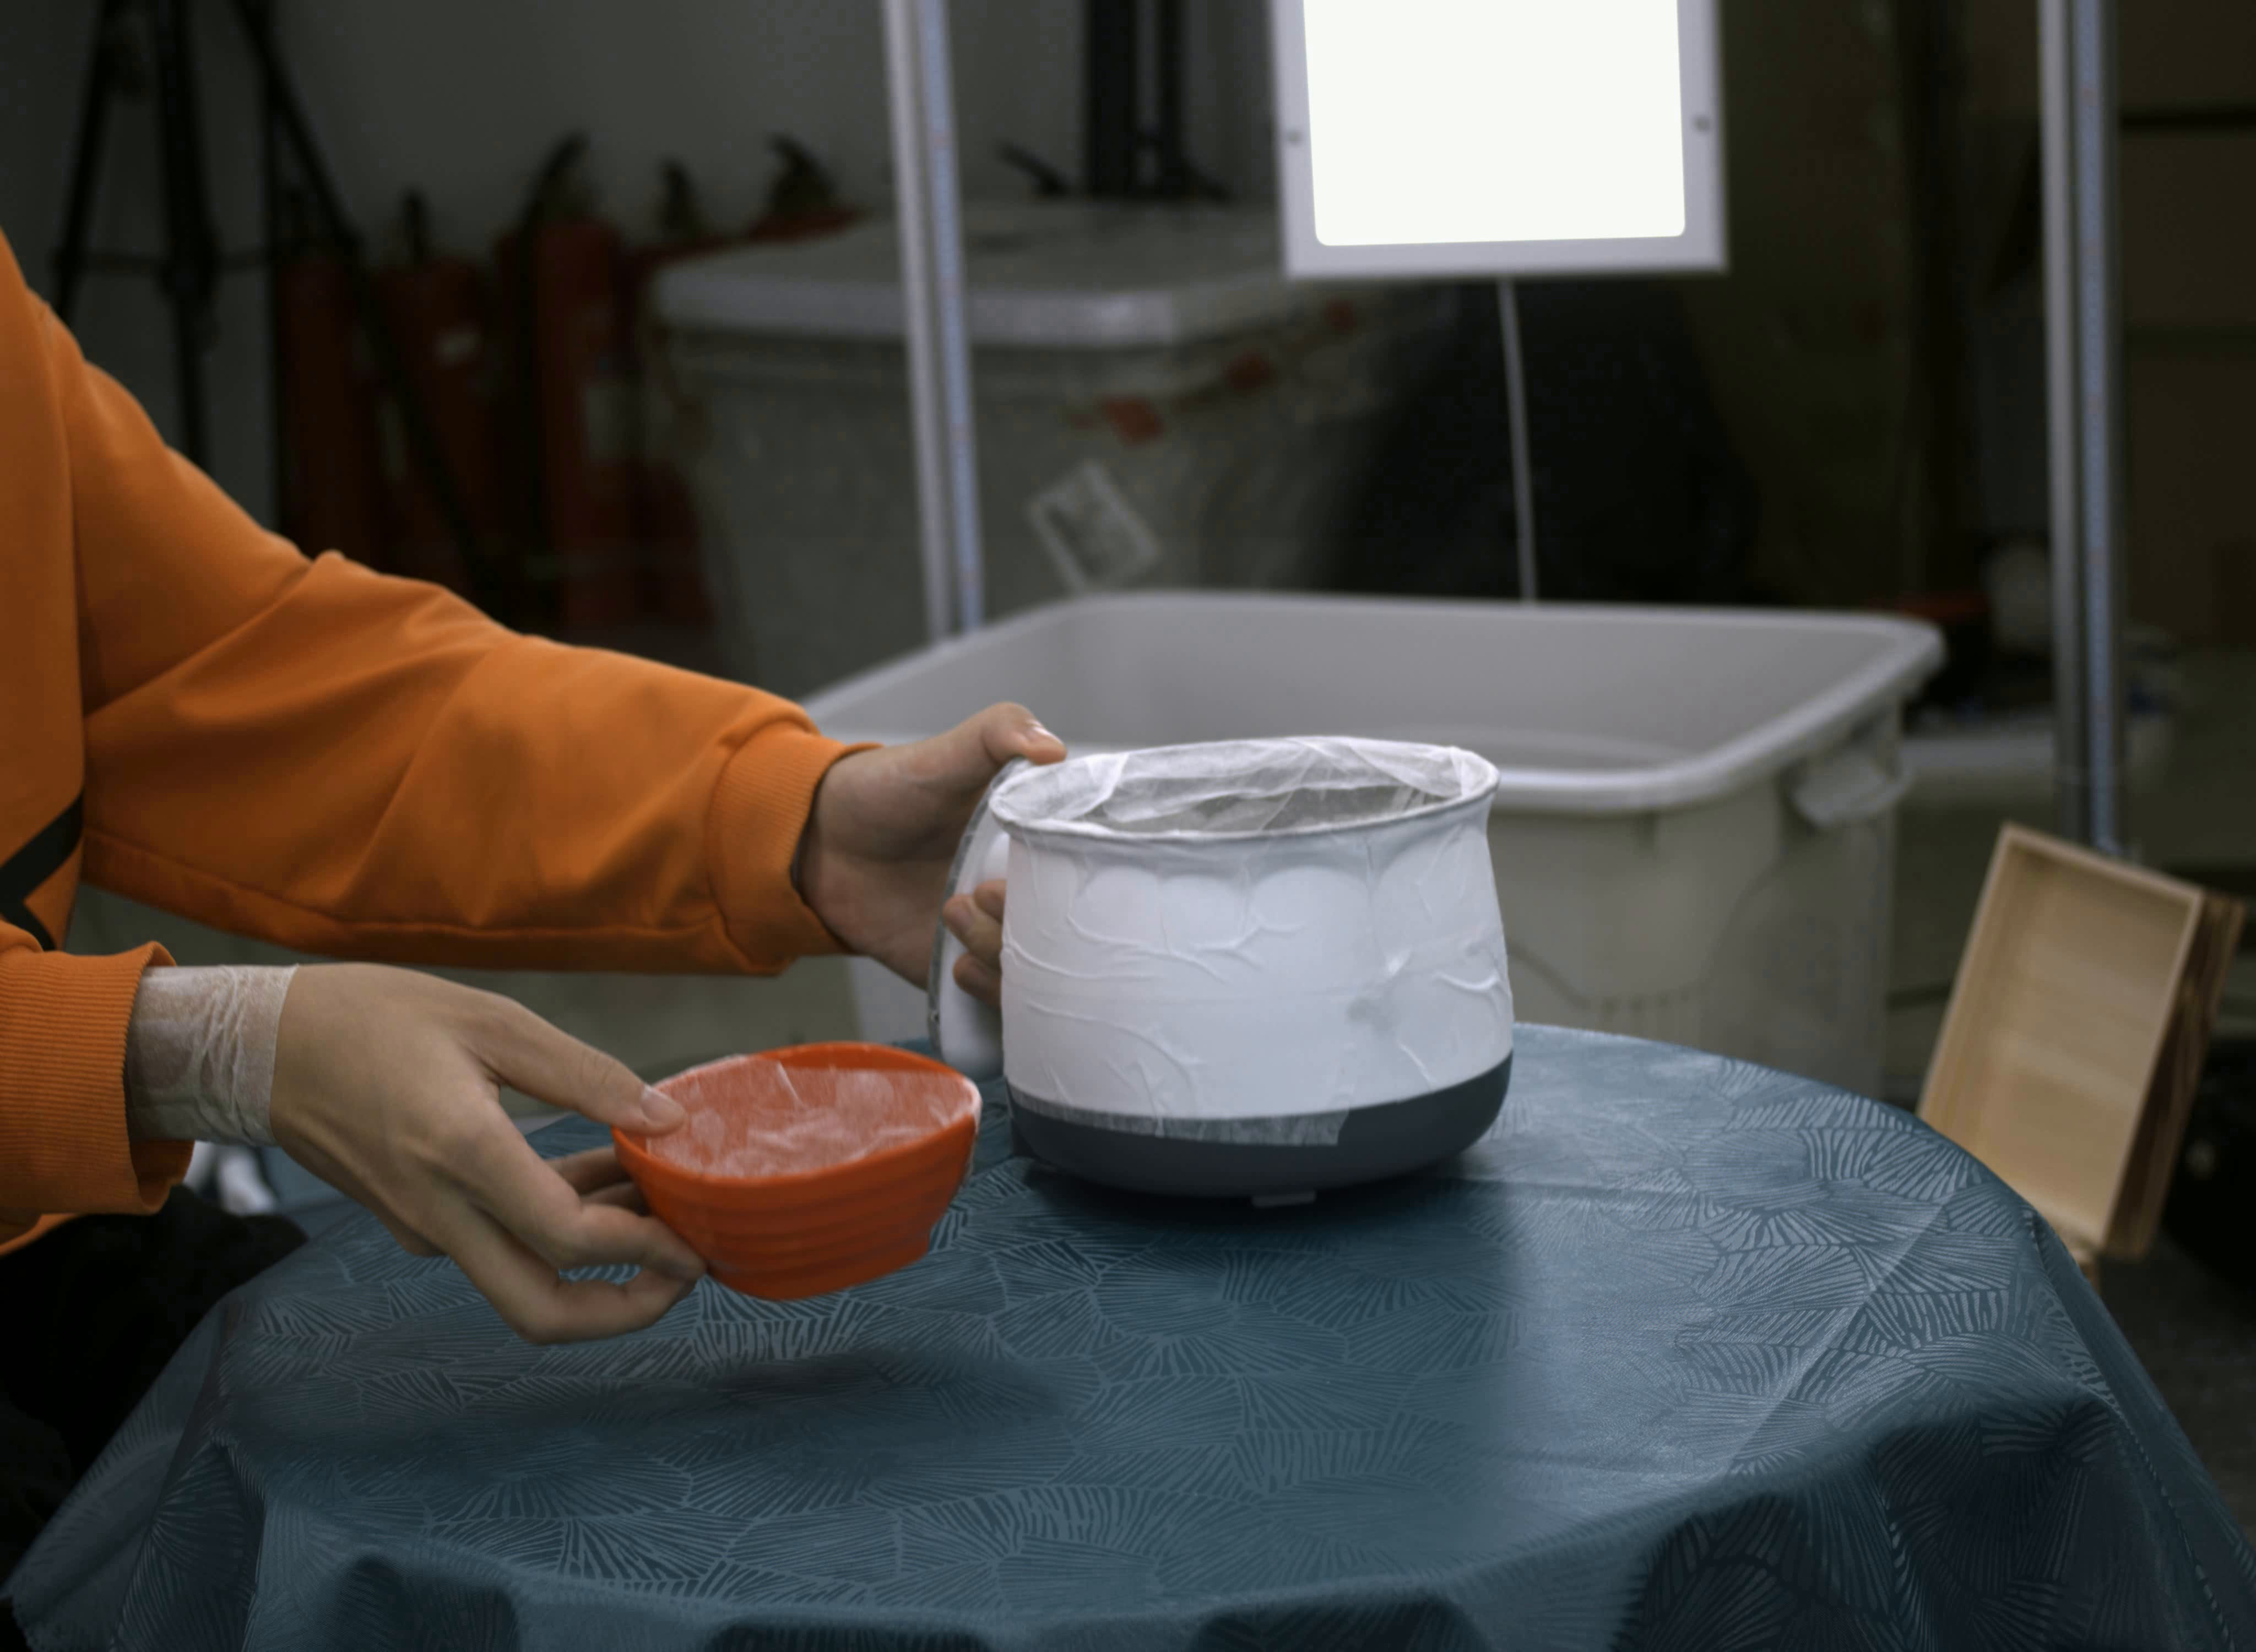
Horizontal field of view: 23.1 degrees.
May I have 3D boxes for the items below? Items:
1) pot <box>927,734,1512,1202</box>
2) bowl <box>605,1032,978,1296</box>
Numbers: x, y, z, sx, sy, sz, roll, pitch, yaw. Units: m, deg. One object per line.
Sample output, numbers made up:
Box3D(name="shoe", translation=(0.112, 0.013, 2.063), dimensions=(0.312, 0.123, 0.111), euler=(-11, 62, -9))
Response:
Box3D(name="pot", translation=(0.022, 0.045, 1.915), dimensions=(0.239, 0.137, 0.174), euler=(5, 13, 40))
Box3D(name="bowl", translation=(-0.103, 0.109, 1.731), dimensions=(0.119, 0.051, 0.118), euler=(-6, 19, 1))
